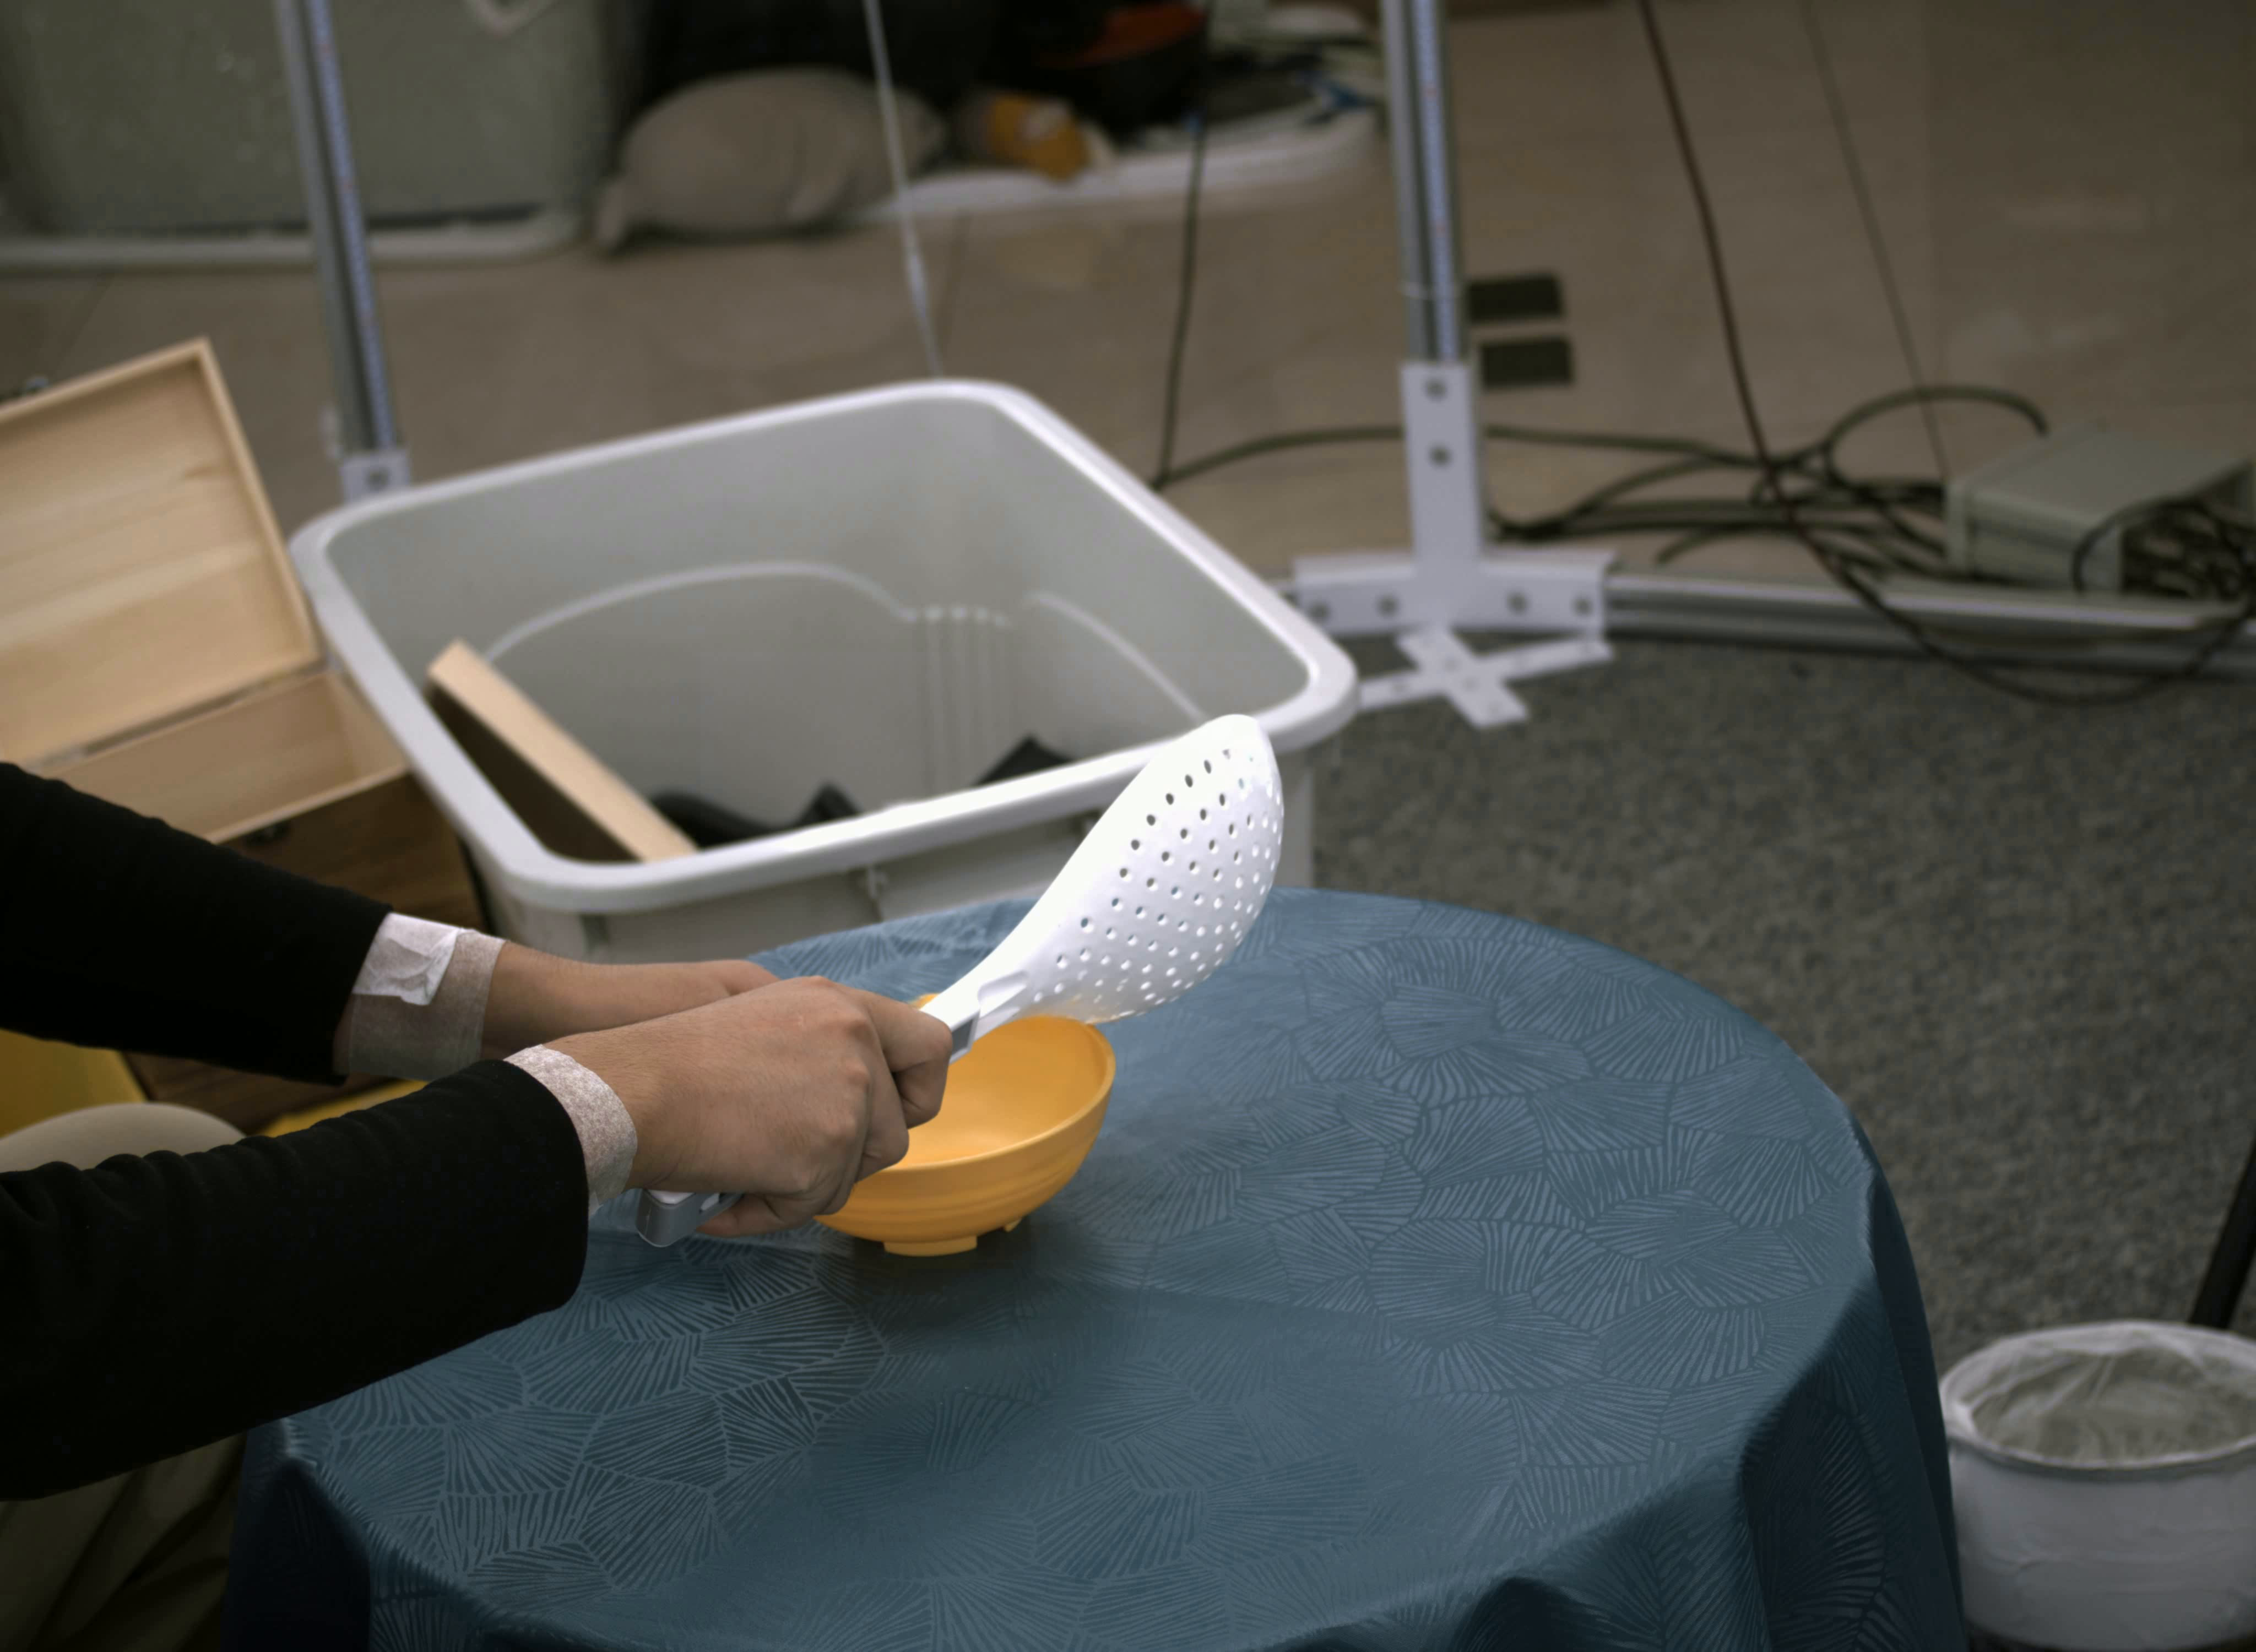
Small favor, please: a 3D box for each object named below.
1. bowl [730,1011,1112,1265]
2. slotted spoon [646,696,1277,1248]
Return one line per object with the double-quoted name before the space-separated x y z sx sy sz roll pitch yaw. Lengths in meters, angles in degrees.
"bowl" -0.075 0.125 2.135 0.145 0.061 0.143 -6 22 2
"slotted spoon" -0.053 0.060 2.052 0.045 0.138 0.346 35 45 28
